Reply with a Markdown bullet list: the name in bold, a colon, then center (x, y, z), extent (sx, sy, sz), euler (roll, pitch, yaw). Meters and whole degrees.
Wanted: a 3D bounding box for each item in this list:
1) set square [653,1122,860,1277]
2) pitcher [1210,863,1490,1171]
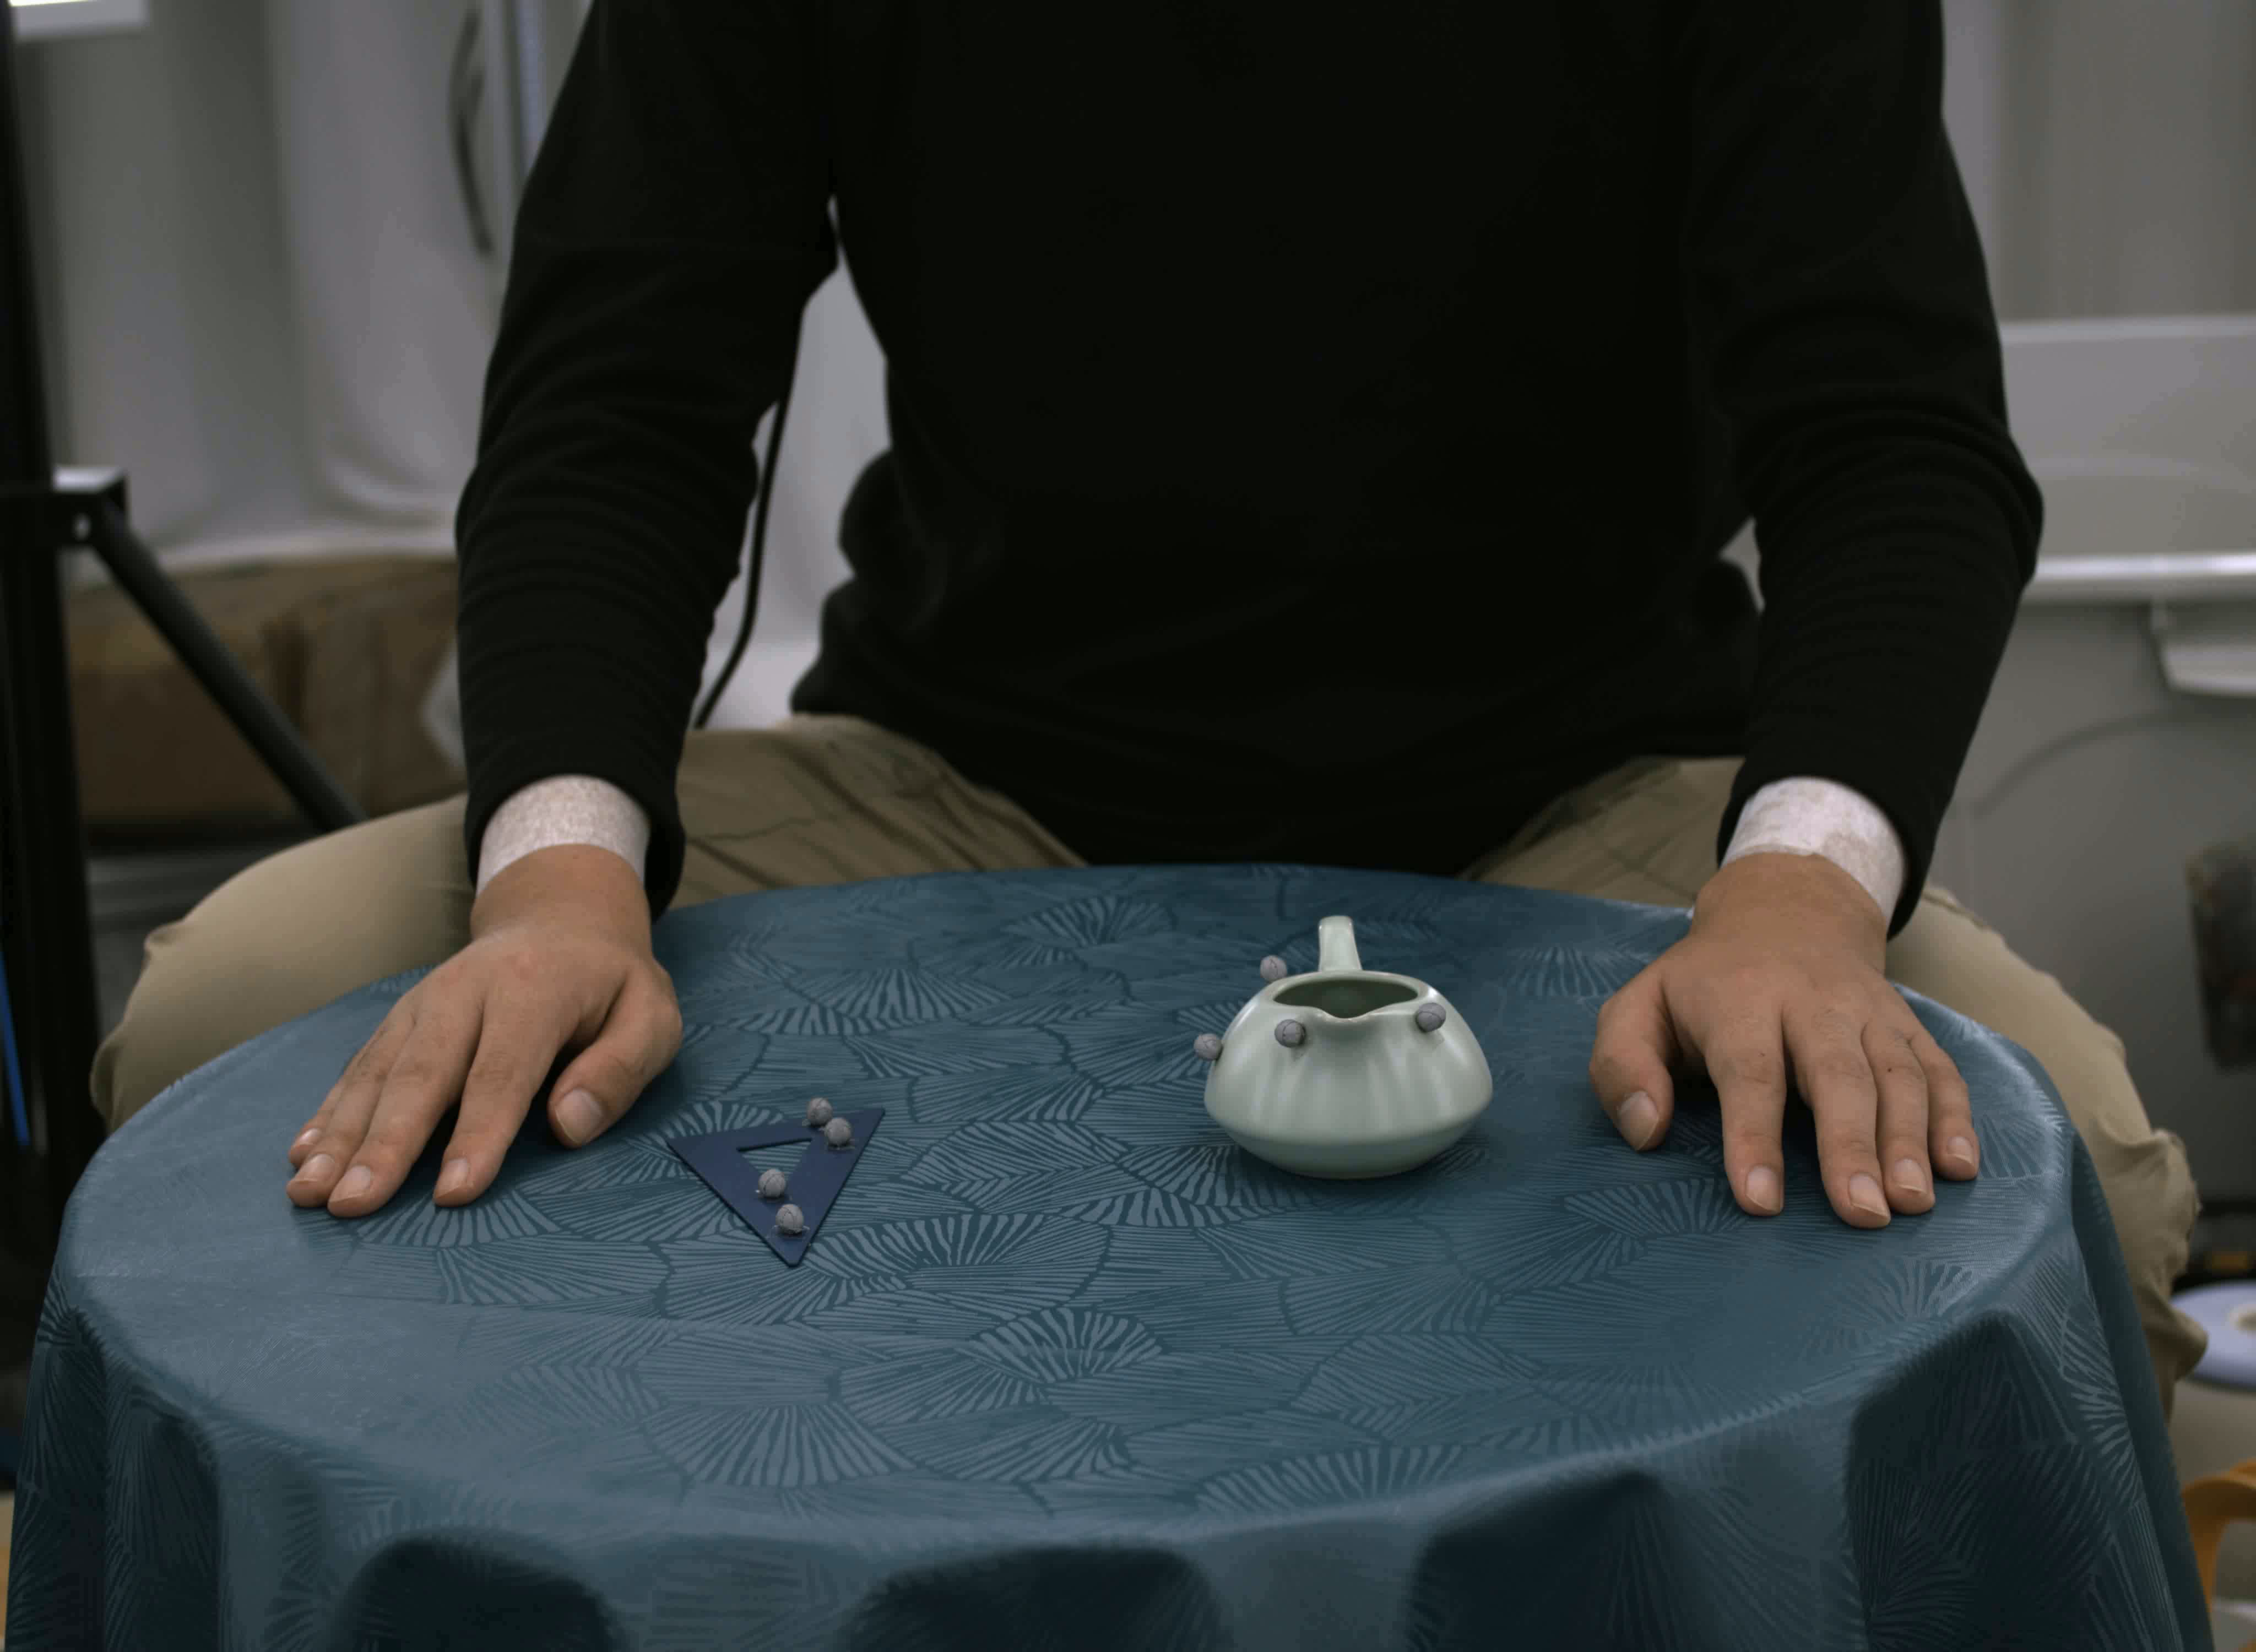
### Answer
- **set square**: center (-0.121, 0.107, 1.572), extent (0.061, 0.006, 0.131), euler (2, 17, 12)
- **pitcher**: center (0.067, 0.059, 1.593), extent (0.087, 0.060, 0.108), euler (-7, 31, 21)
